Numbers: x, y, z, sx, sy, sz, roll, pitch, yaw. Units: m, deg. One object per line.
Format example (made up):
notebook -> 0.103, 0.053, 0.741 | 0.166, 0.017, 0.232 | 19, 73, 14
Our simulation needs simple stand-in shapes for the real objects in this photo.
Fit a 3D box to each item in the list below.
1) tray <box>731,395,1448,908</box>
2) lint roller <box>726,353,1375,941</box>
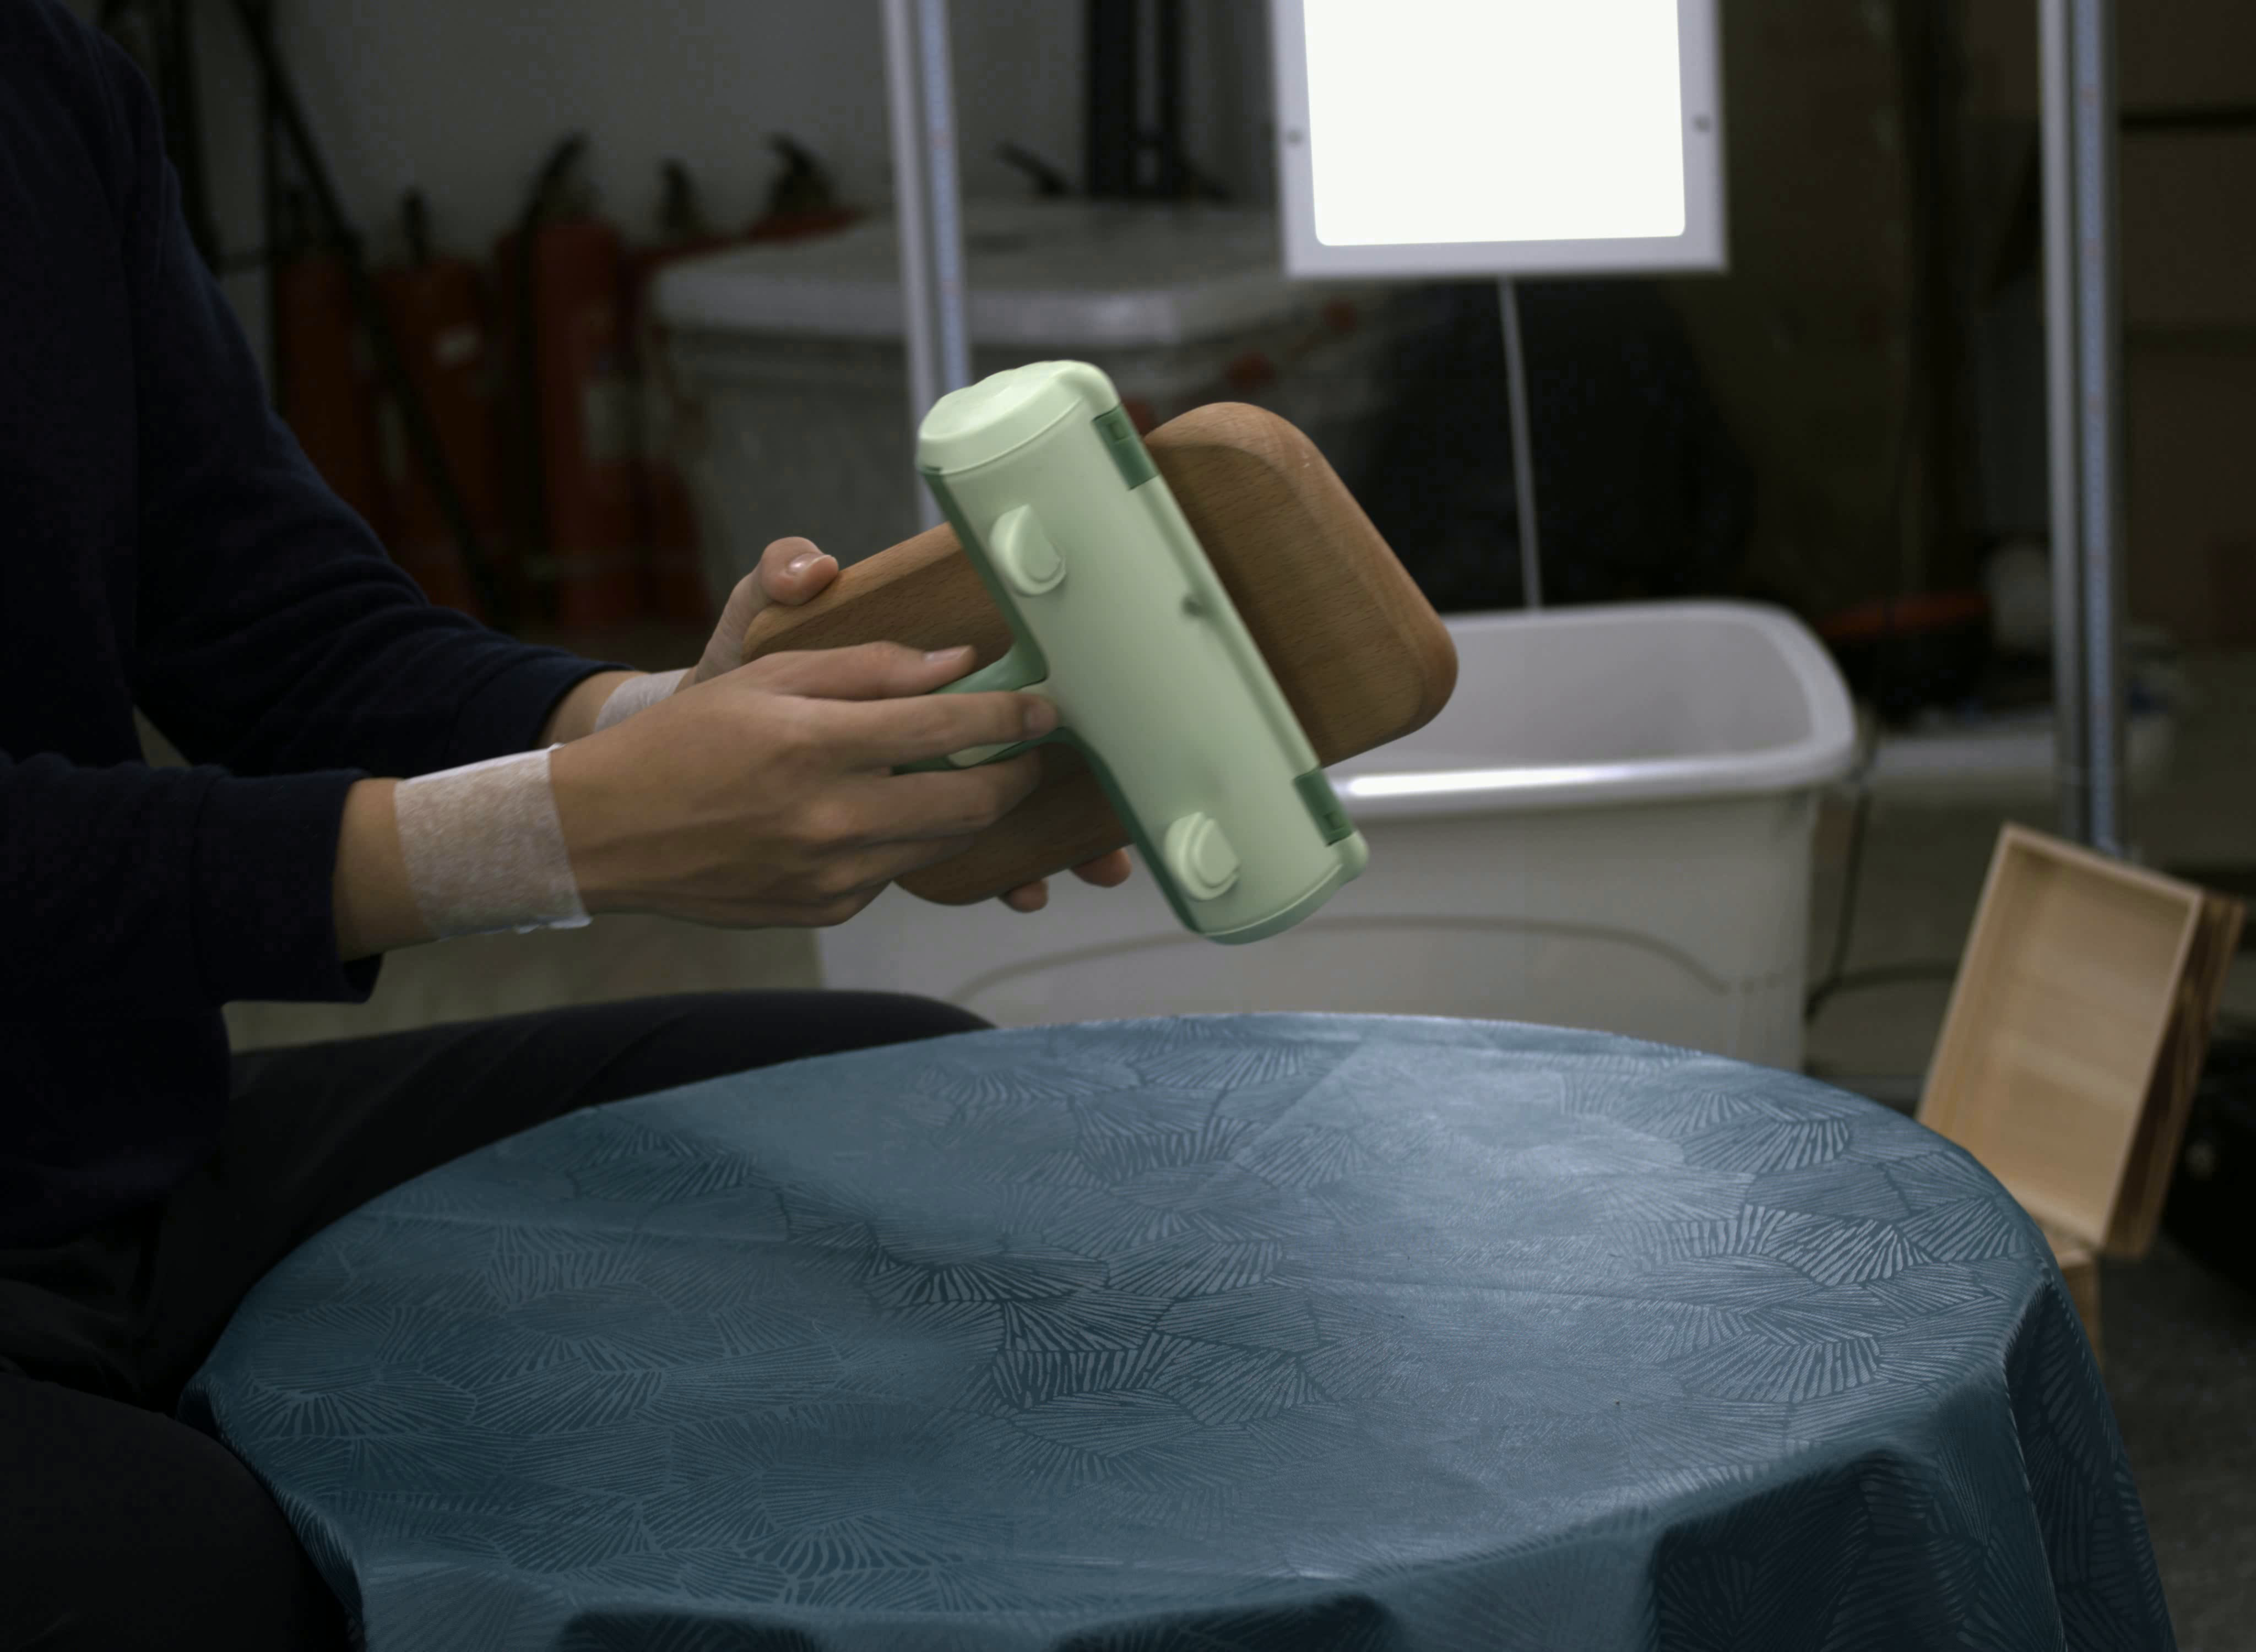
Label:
tray -> -0.017, -0.051, 1.765 | 0.256, 0.130, 0.022 | -23, 19, 41
lint roller -> -0.045, -0.026, 1.706 | 0.184, 0.197, 0.082 | -27, 22, 11
